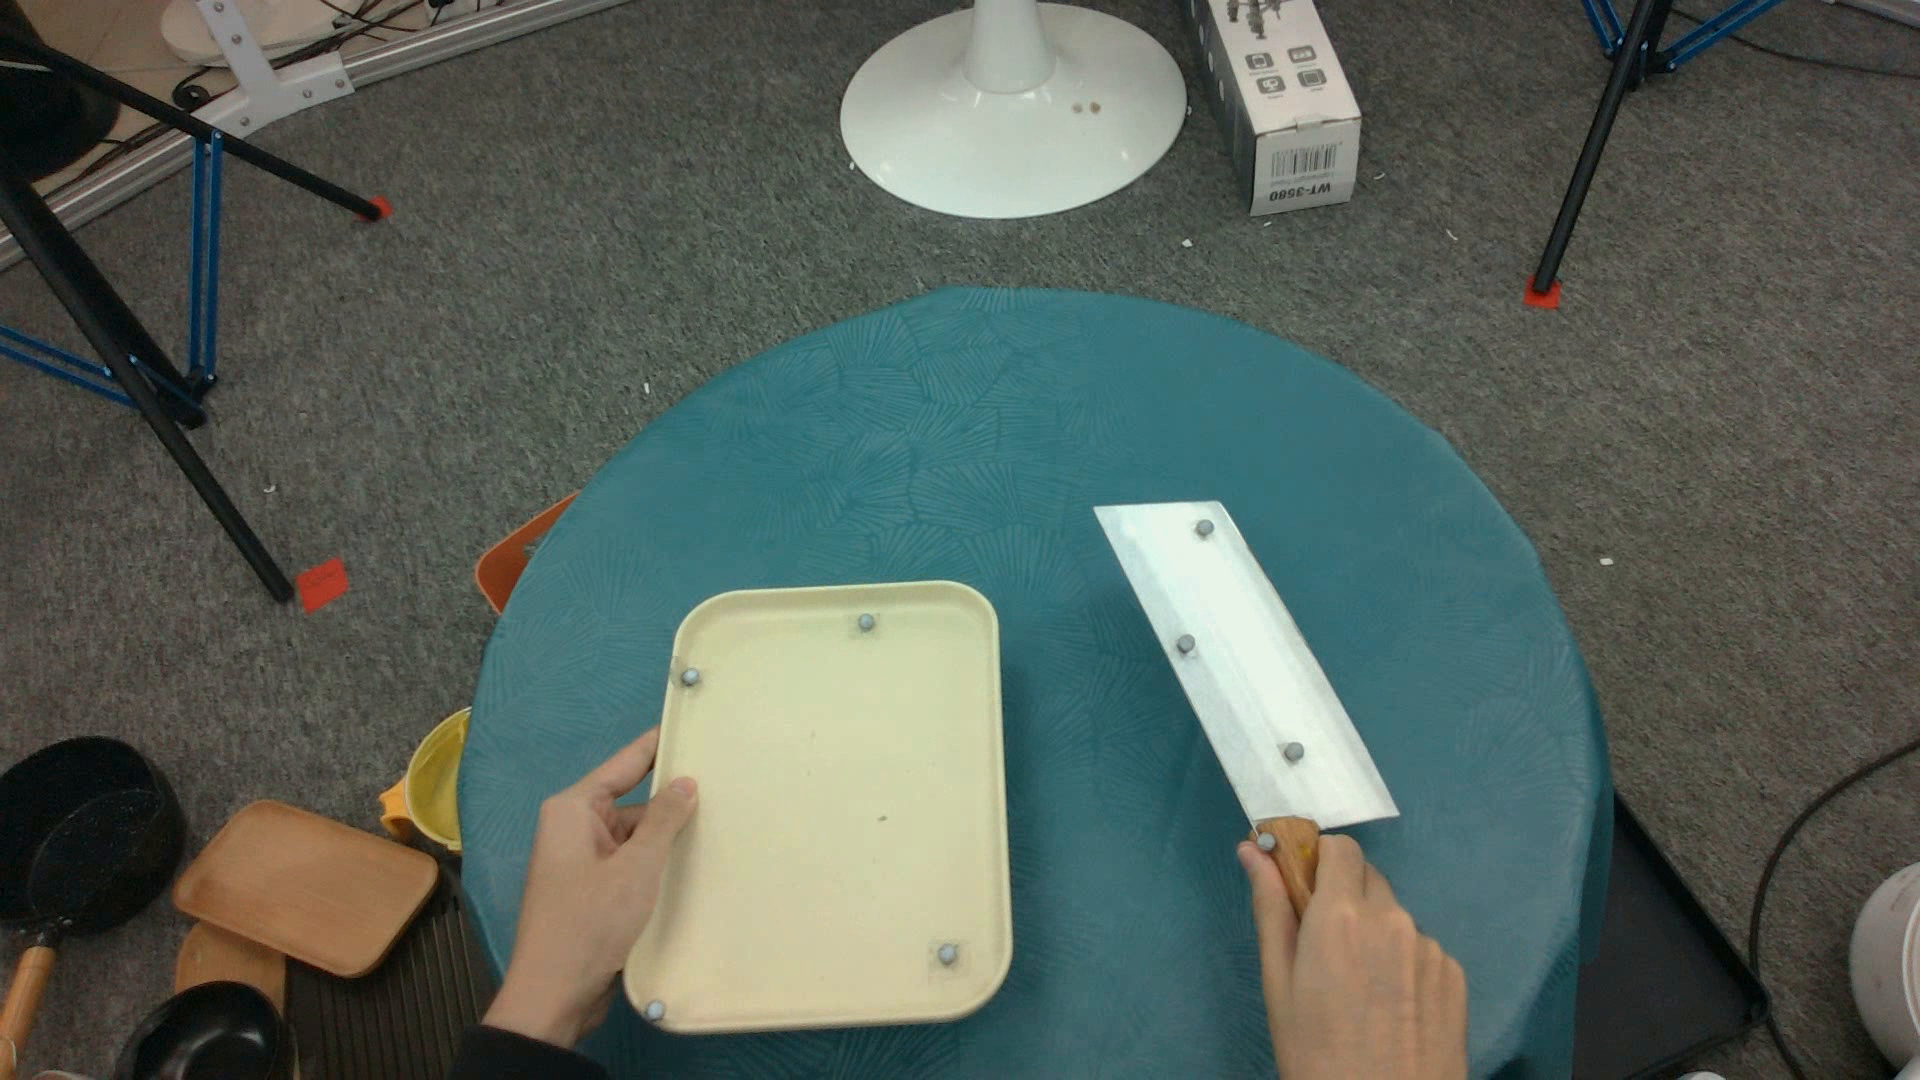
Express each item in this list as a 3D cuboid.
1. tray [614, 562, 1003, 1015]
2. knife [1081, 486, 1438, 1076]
[{"bbox_3d":[-0.069,0.109,0.661,0.171,0.017,0.241,-3,49,0],"label":"tray"},{"bbox_3d":[0.151,0.094,0.654,0.093,0.021,0.306,-3,54,-33],"label":"knife"}]
